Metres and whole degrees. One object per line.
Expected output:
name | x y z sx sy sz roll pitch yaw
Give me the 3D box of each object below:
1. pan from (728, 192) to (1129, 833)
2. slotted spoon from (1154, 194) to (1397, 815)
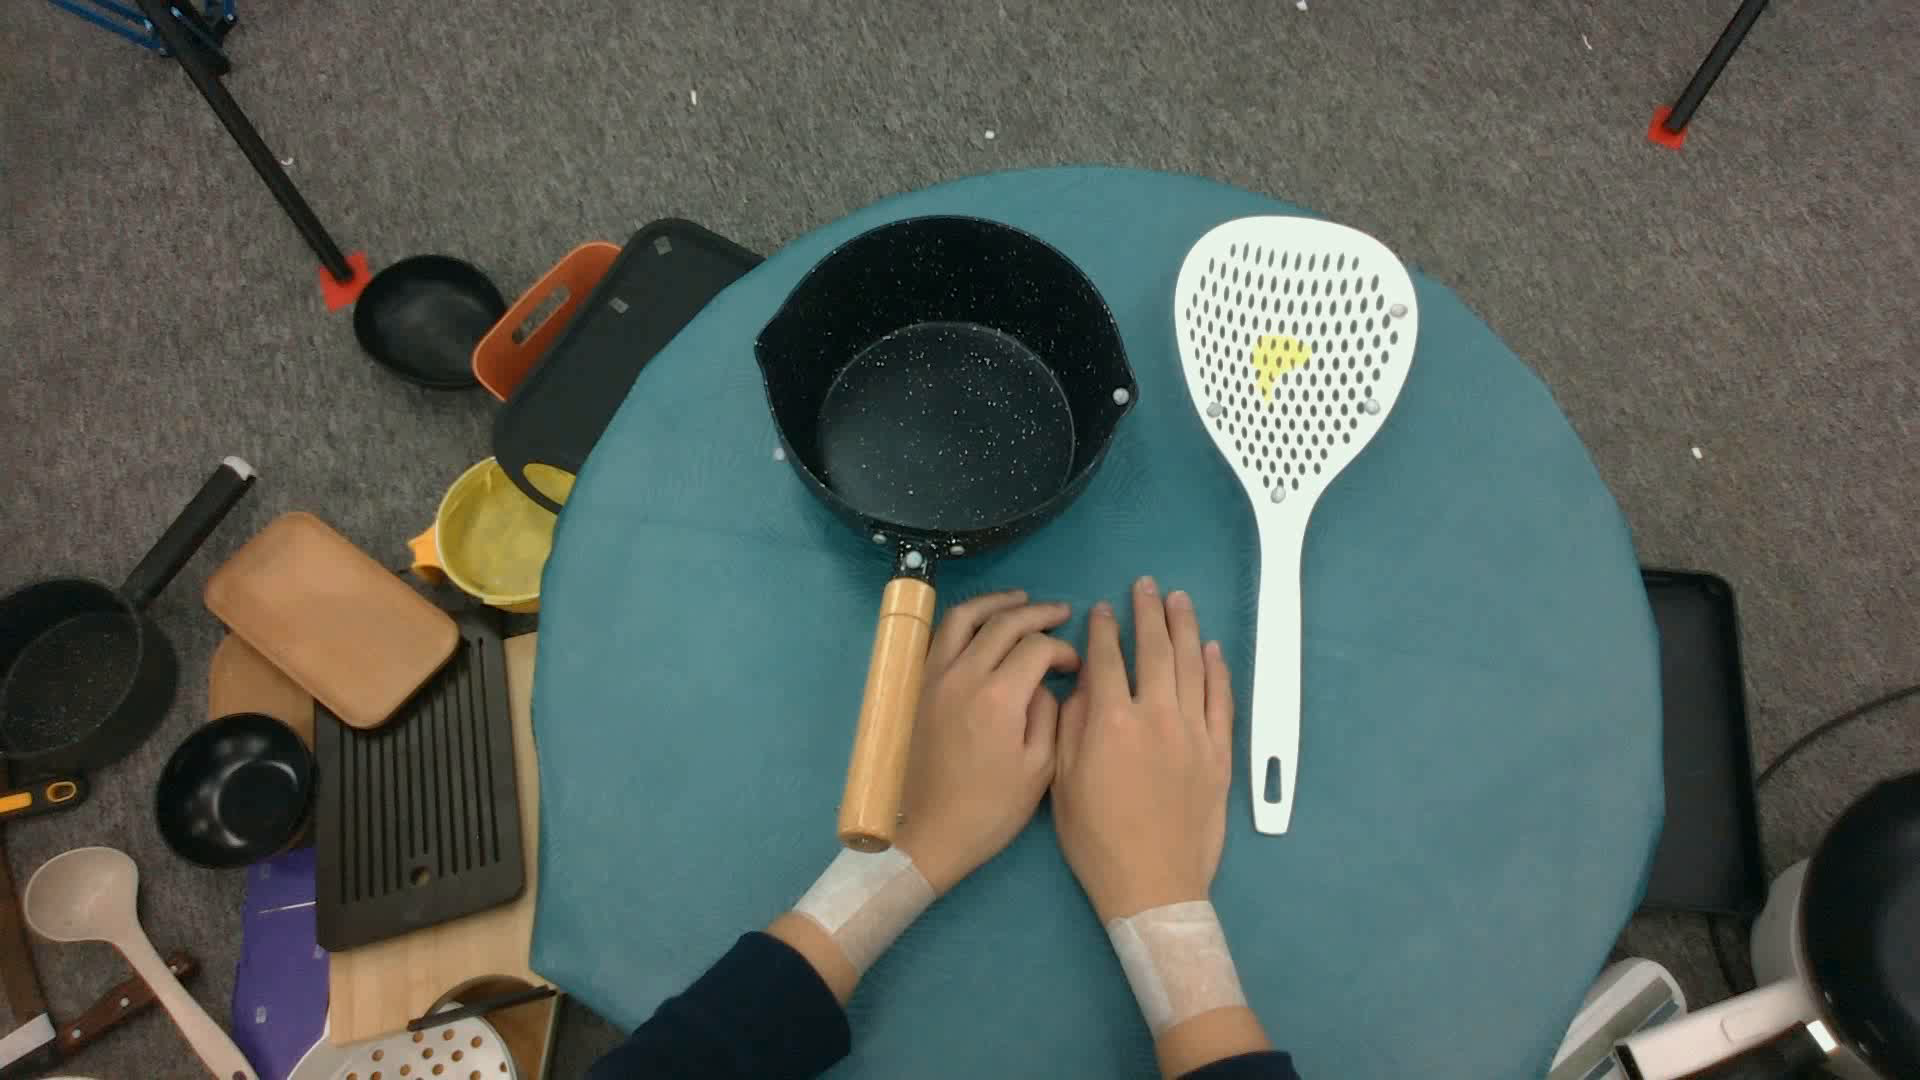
pan | -0.025 -0.015 0.700 0.207 0.108 0.344 7 67 1
slotted spoon | 0.167 -0.030 0.743 0.137 0.050 0.349 5 67 -1
